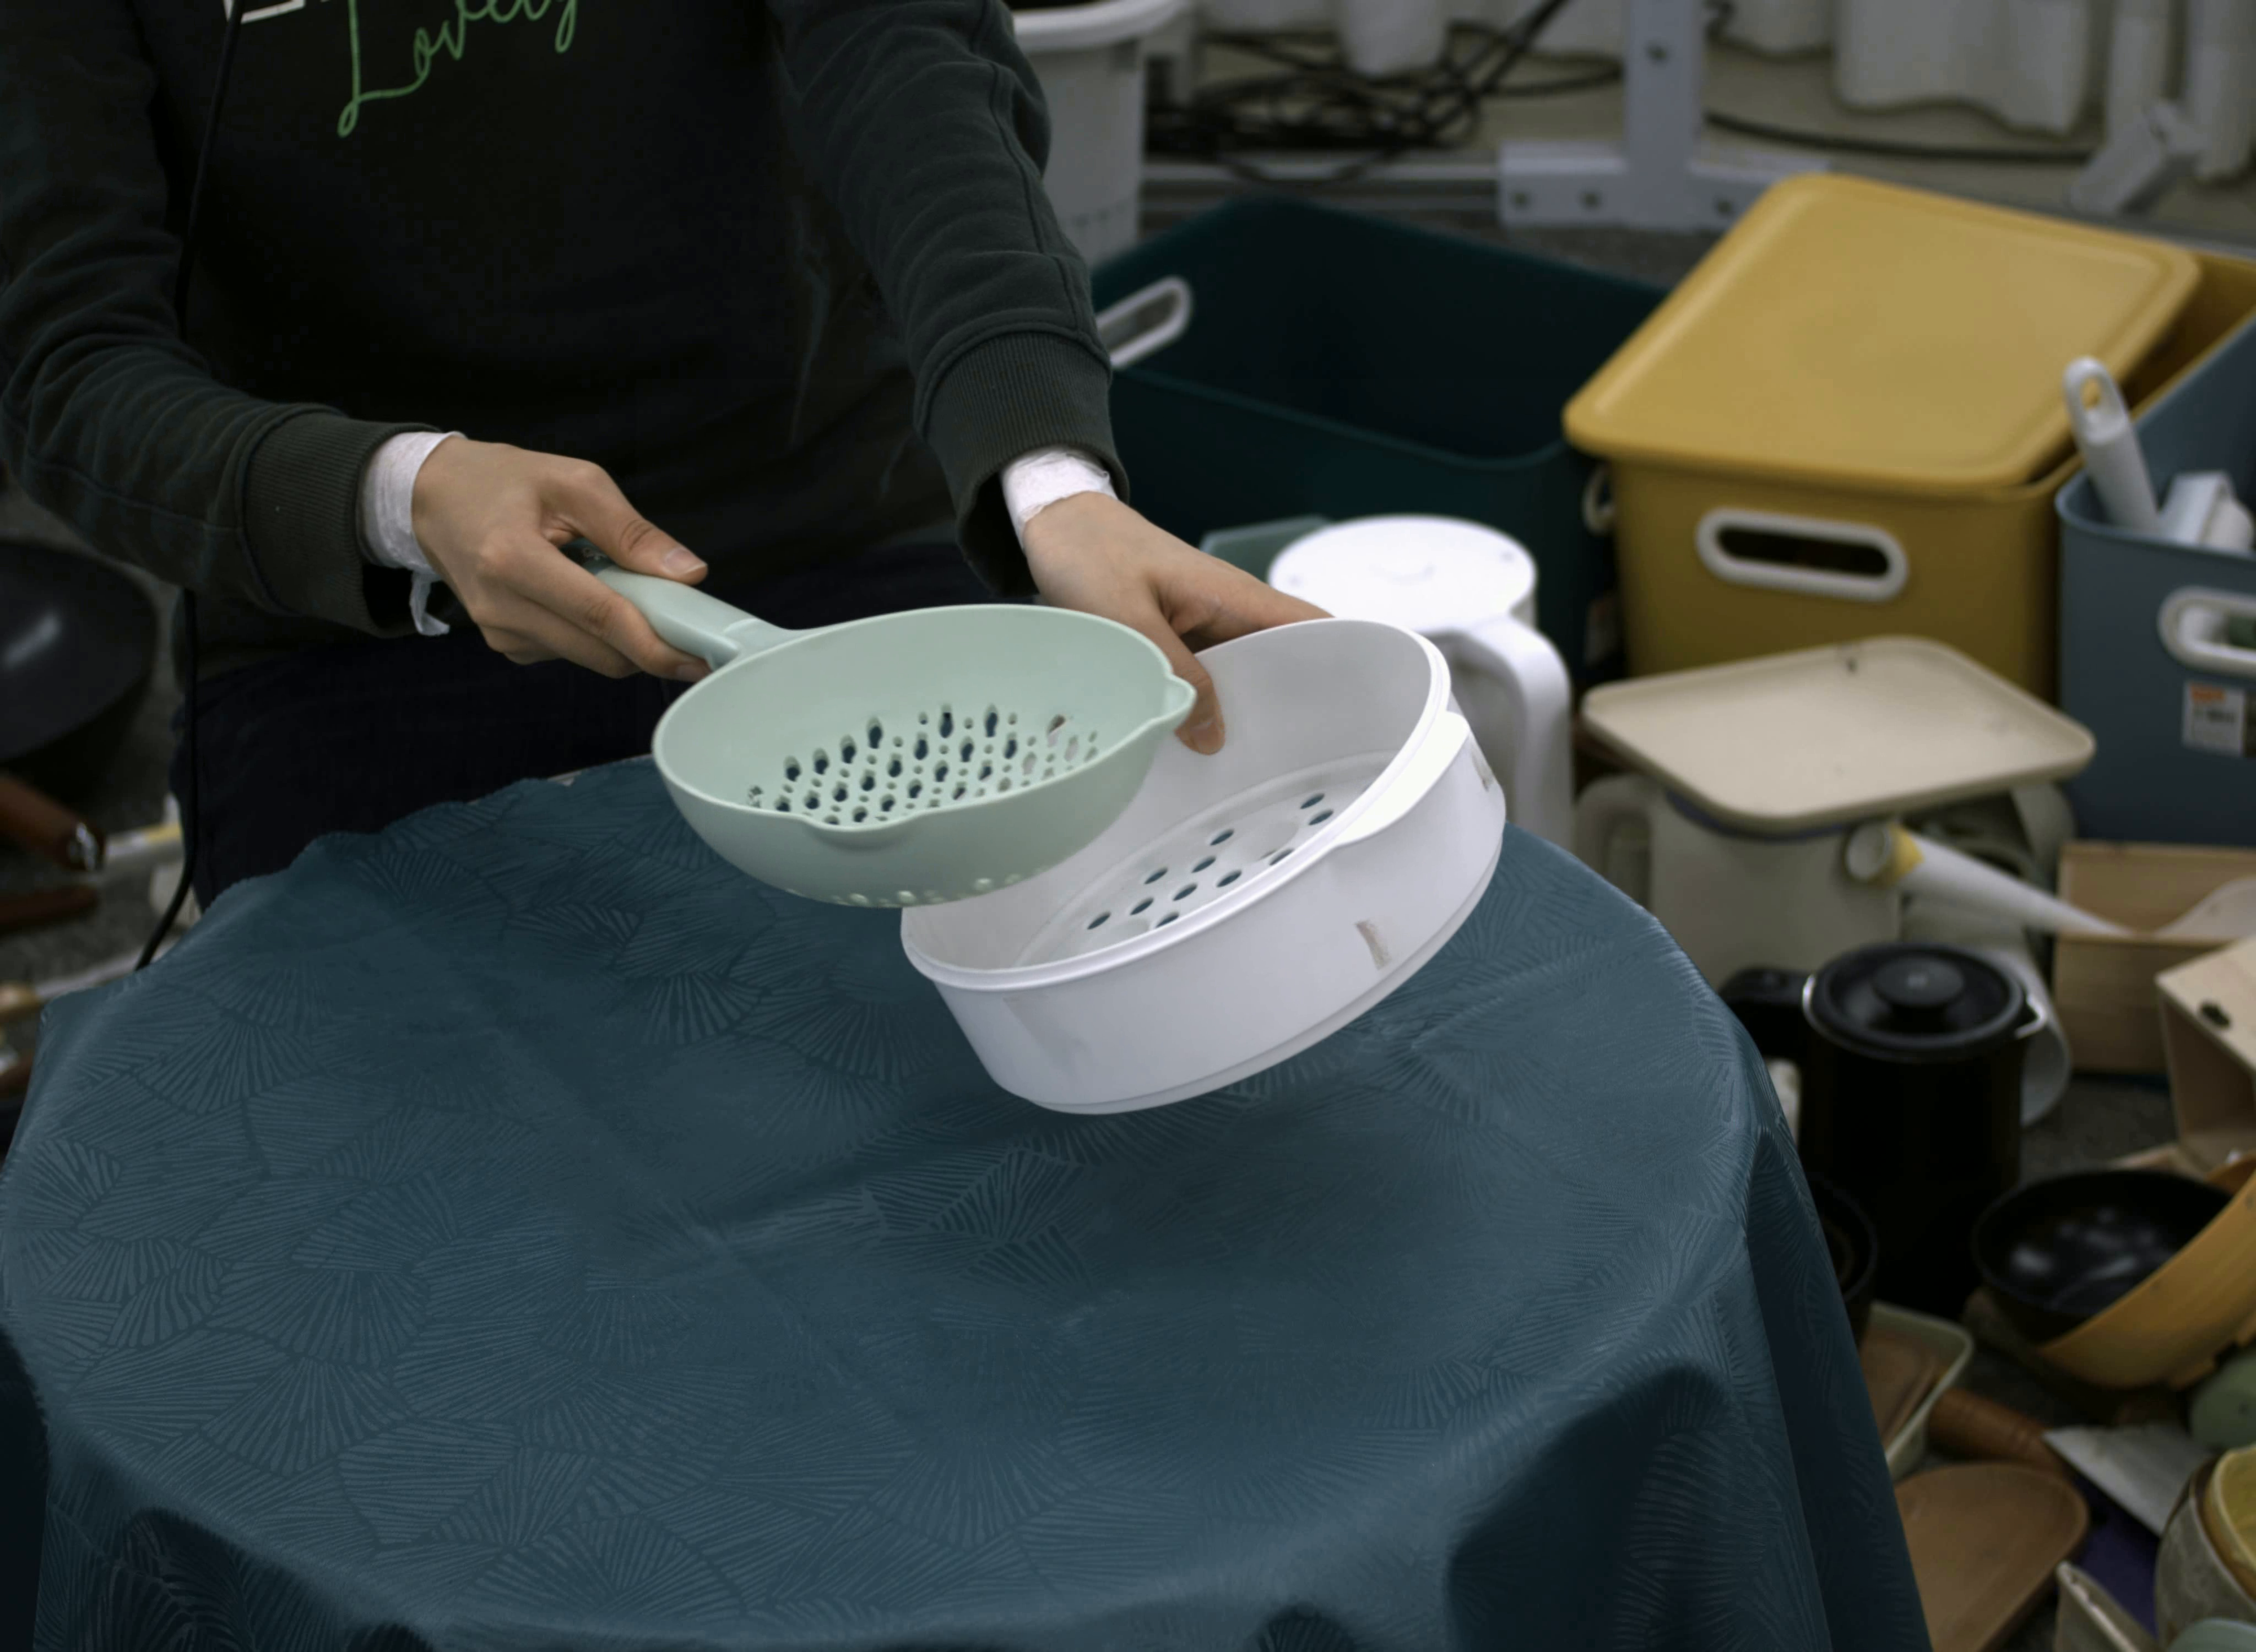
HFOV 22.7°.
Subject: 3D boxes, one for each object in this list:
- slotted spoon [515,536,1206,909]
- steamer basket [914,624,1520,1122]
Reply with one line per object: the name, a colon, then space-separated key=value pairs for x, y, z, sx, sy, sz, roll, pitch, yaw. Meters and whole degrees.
slotted spoon: x=-0.119 y=-0.052 z=1.893 sx=0.171 sy=0.074 sz=0.360 roll=-20 pitch=33 yaw=-29
steamer basket: x=0.032 y=0.016 z=1.836 sx=0.228 sy=0.069 sz=0.205 roll=-8 pitch=29 yaw=42
